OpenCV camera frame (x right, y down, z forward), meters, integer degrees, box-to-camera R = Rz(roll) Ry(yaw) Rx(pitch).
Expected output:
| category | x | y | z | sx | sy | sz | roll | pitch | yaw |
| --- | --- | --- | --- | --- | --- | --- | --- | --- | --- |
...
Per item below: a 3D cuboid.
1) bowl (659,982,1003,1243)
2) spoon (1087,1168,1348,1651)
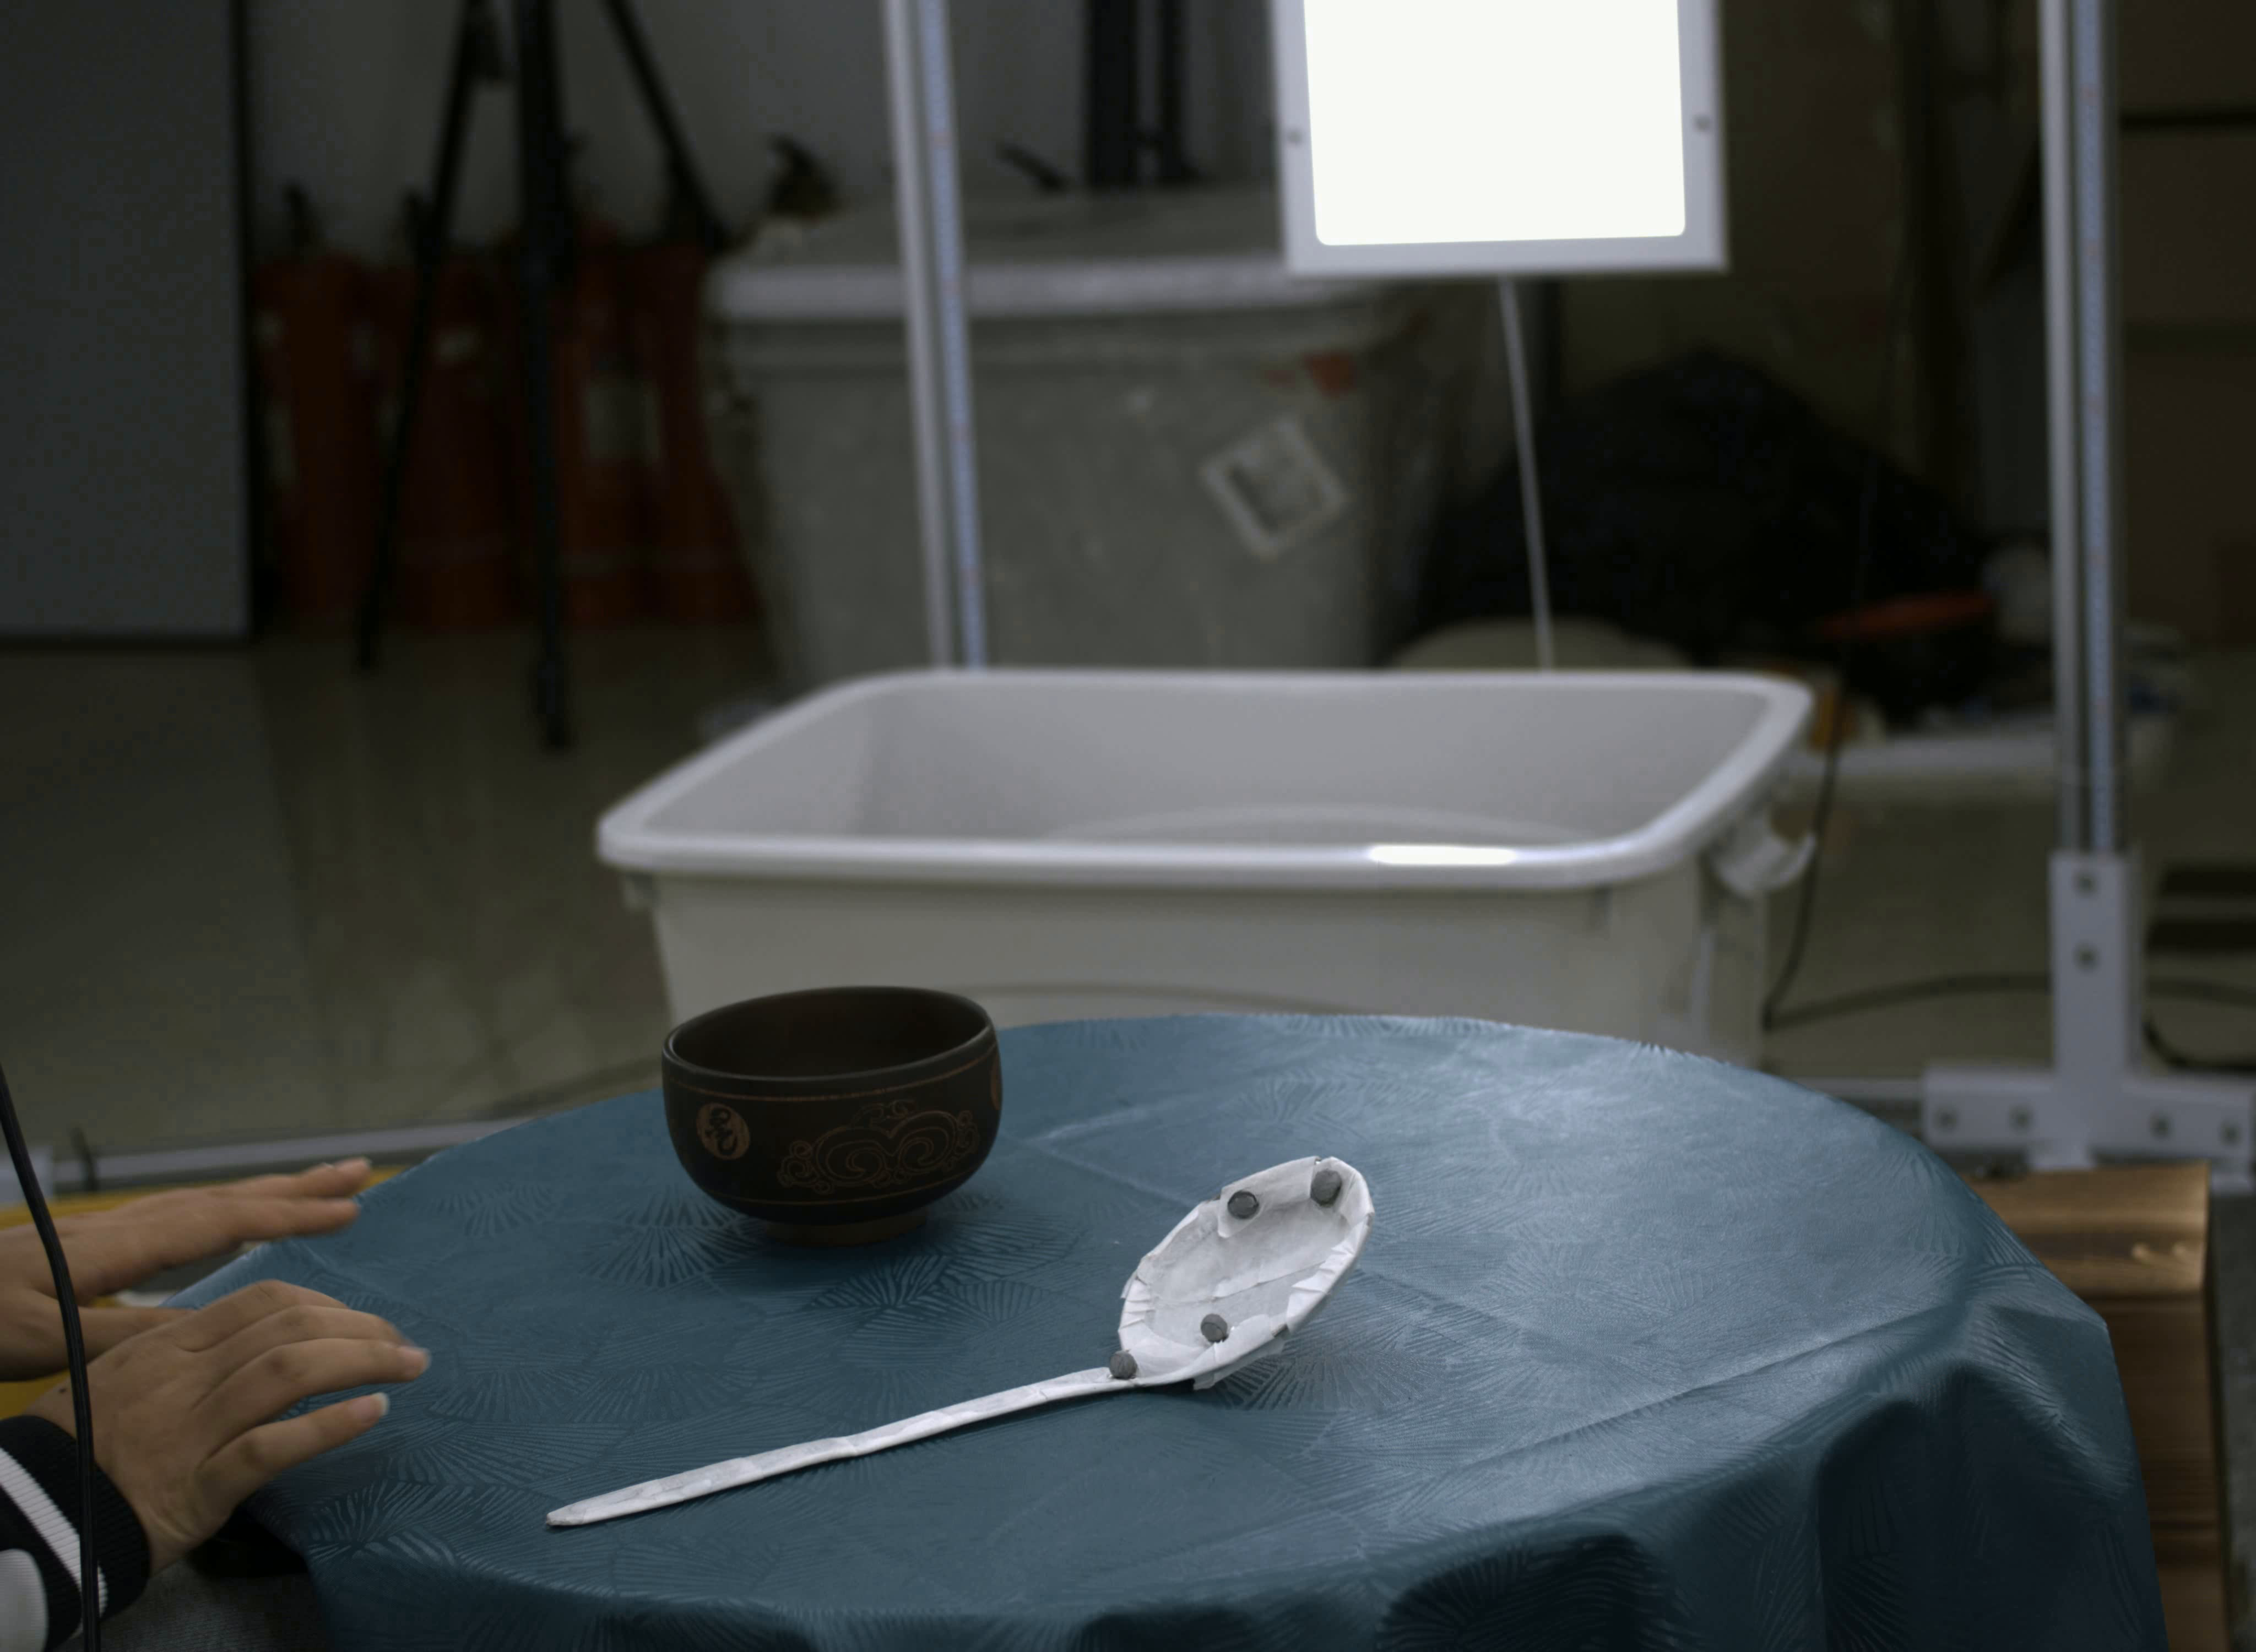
| category | x | y | z | sx | sy | sz | roll | pitch | yaw |
| --- | --- | --- | --- | --- | --- | --- | --- | --- | --- |
| bowl | -0.100 | 0.101 | 1.884 | 0.118 | 0.070 | 0.118 | -5 | 13 | 0 |
| spoon | 0.025 | 0.232 | 1.694 | 0.058 | 0.277 | 0.103 | 19 | -26 | -36 |
